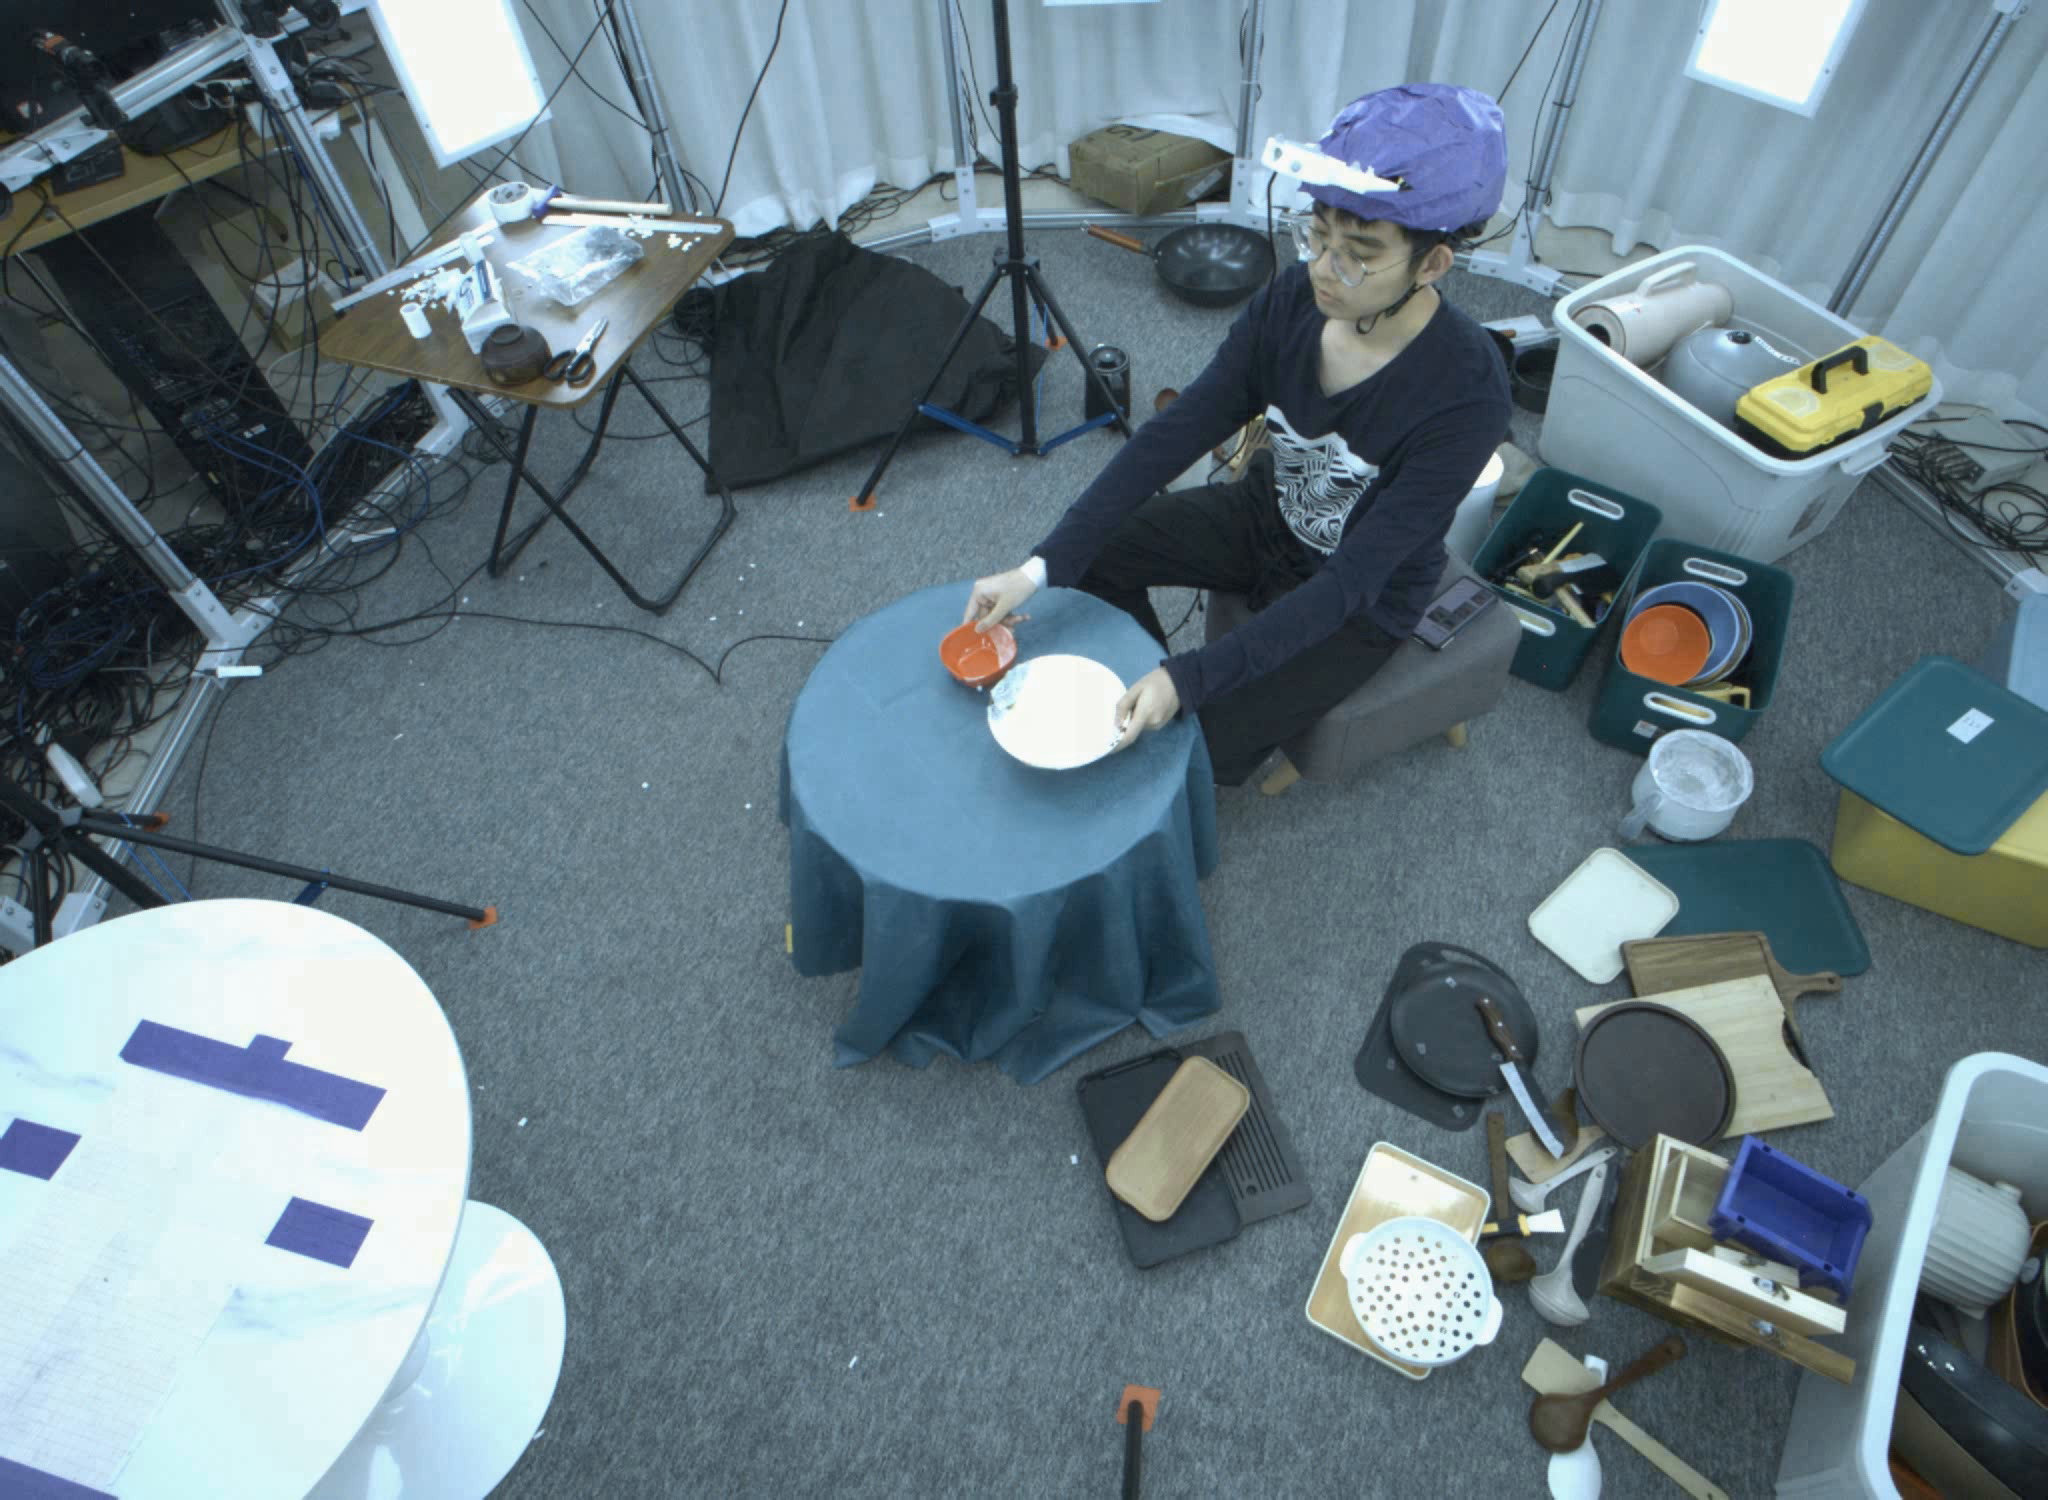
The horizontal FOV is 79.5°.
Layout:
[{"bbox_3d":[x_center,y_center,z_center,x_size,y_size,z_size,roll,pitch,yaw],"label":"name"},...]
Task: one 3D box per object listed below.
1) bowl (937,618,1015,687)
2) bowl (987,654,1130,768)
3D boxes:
[{"bbox_3d":[-0.072,-0.141,1.876,0.119,0.052,0.118,0,59,1],"label":"bowl"},{"bbox_3d":[0.050,-0.037,1.774,0.204,0.079,0.202,0,55,1],"label":"bowl"}]
